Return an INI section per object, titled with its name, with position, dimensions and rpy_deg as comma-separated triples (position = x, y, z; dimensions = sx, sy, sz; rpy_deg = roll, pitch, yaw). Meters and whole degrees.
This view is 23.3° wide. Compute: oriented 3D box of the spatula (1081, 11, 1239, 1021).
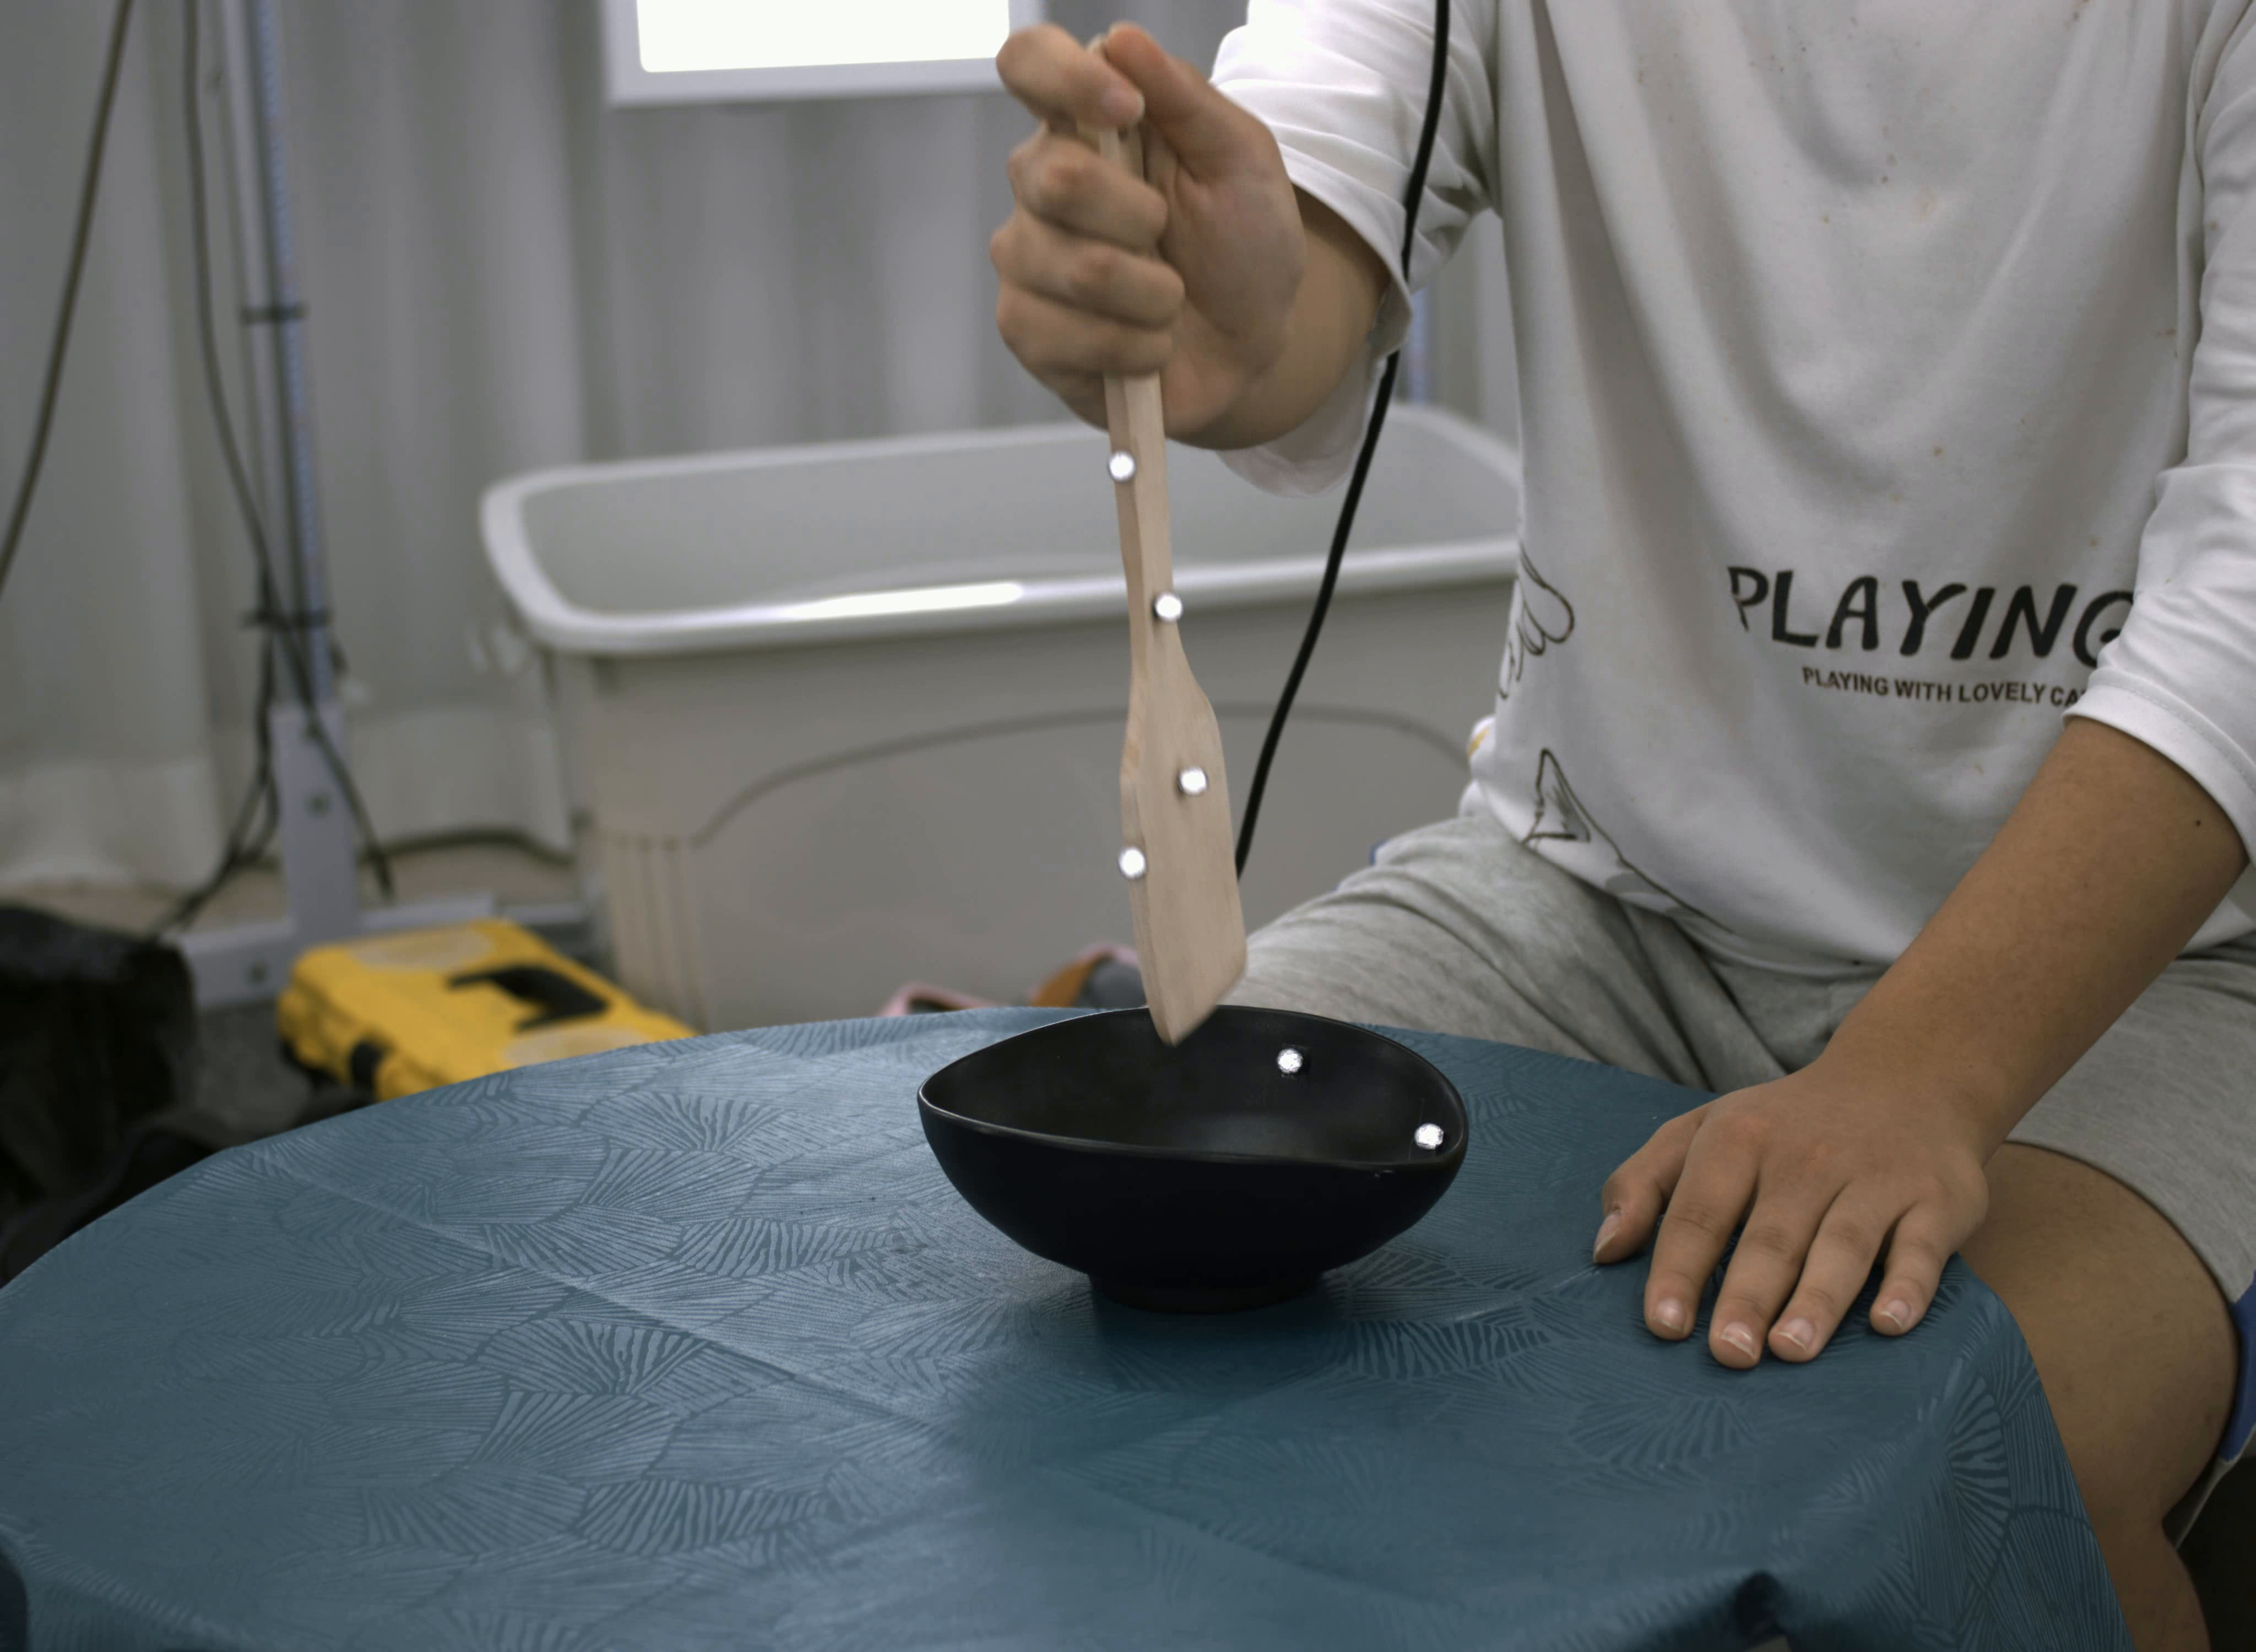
[spatula]
position = 0.005, -0.090, 1.586
dimensions = 0.010, 0.291, 0.072
rpy_deg = 2, 18, 22

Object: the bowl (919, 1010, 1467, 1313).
[bowl]
position = 0.020, 0.104, 1.632
dimensions = 0.170, 0.066, 0.137
rpy_deg = 5, 16, 21
